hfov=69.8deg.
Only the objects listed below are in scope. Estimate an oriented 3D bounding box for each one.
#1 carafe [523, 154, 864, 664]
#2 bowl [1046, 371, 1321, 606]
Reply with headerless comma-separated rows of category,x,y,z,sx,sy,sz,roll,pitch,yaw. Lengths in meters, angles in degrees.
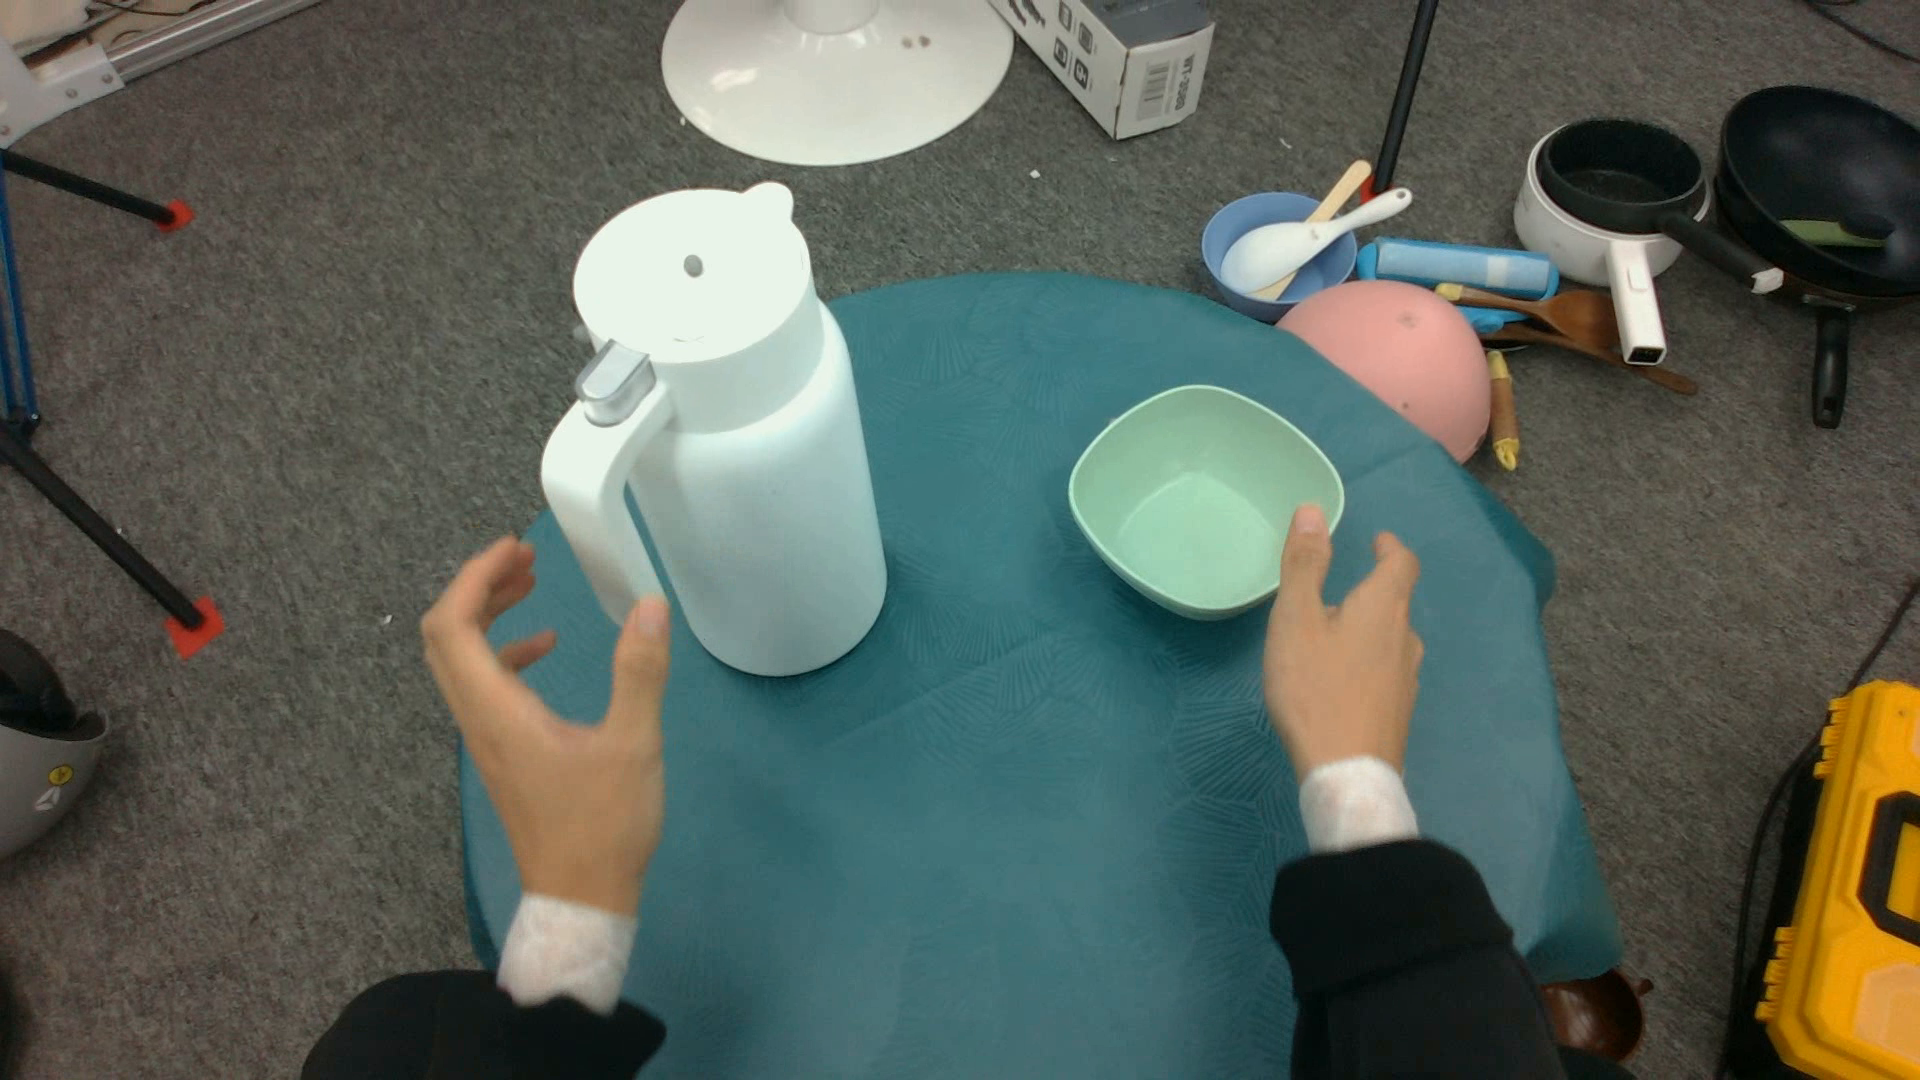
carafe,-0.123,-0.035,0.675,0.124,0.267,0.173,21,61,13
bowl,0.124,-0.021,0.784,0.151,0.058,0.152,-1,58,2
